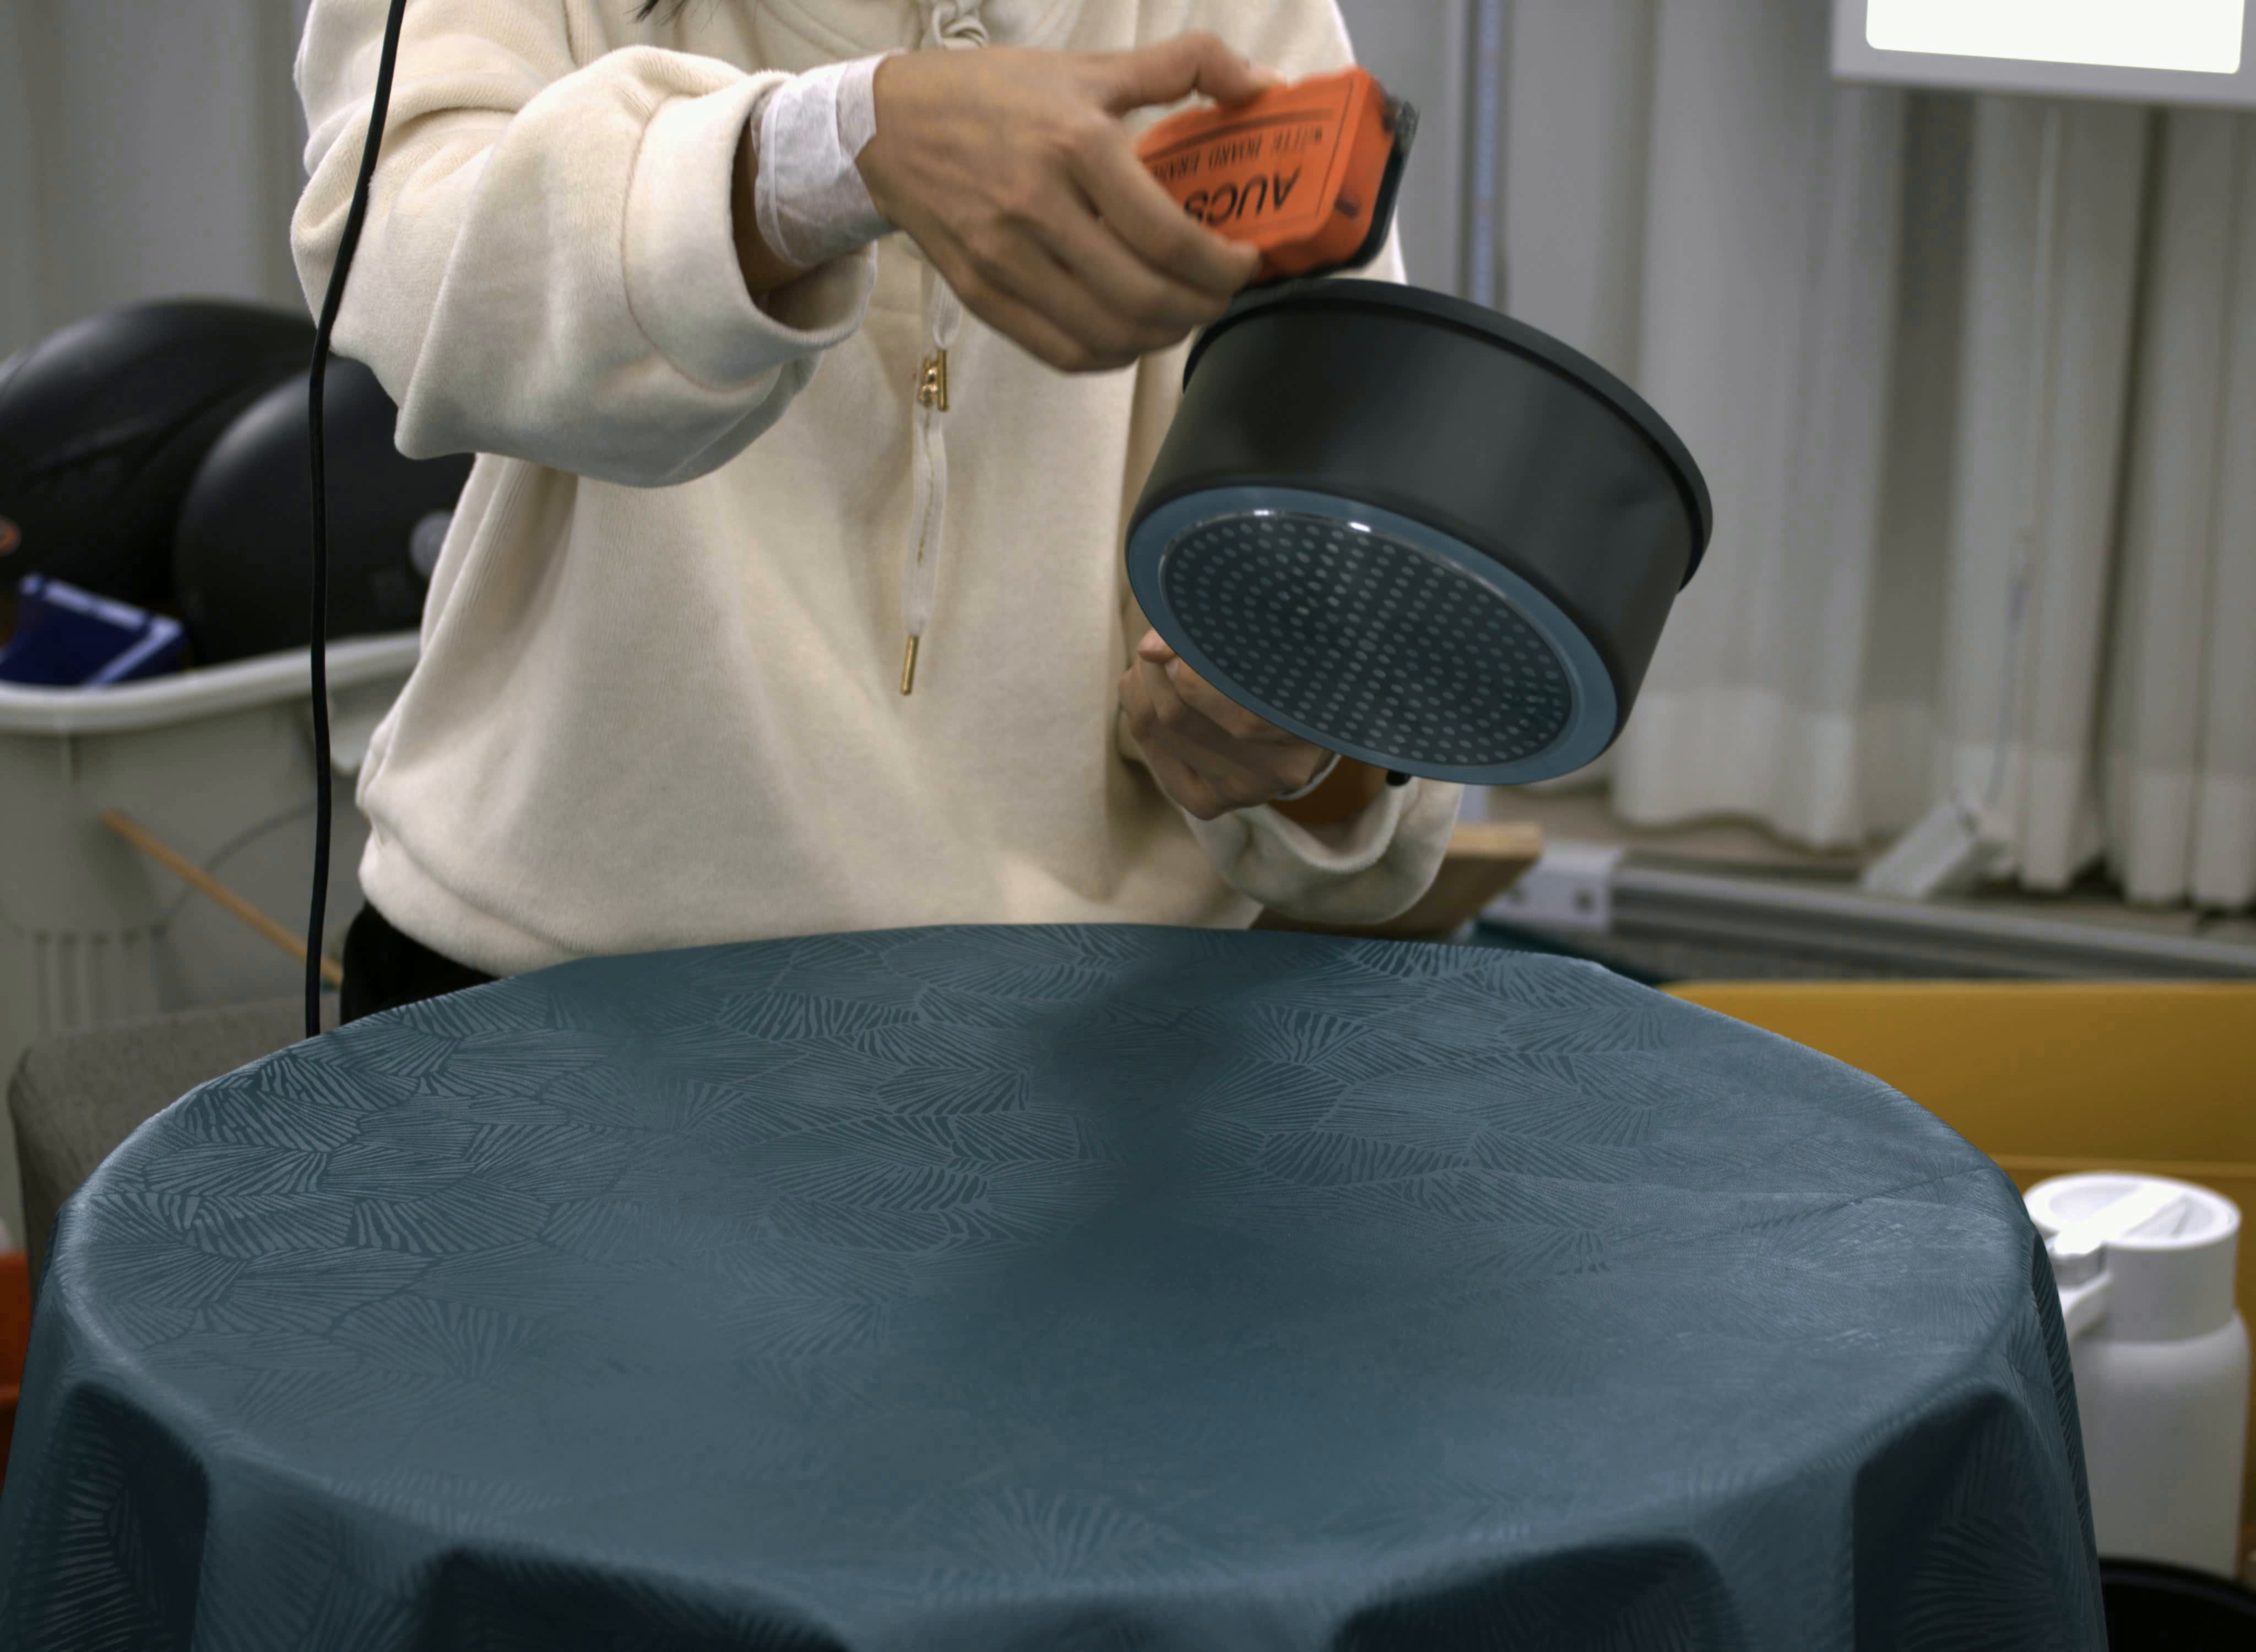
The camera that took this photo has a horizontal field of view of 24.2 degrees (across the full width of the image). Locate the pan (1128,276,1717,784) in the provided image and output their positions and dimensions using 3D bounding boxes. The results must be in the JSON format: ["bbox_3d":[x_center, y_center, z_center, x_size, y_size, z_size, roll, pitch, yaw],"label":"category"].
[{"bbox_3d":[0.065,-0.062,1.677,0.172,0.086,0.329,26,-24,-7],"label":"pan"}]

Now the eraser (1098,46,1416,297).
[{"bbox_3d":[0.037,-0.190,1.533,0.023,0.059,0.107,25,-19,-36],"label":"eraser"}]
